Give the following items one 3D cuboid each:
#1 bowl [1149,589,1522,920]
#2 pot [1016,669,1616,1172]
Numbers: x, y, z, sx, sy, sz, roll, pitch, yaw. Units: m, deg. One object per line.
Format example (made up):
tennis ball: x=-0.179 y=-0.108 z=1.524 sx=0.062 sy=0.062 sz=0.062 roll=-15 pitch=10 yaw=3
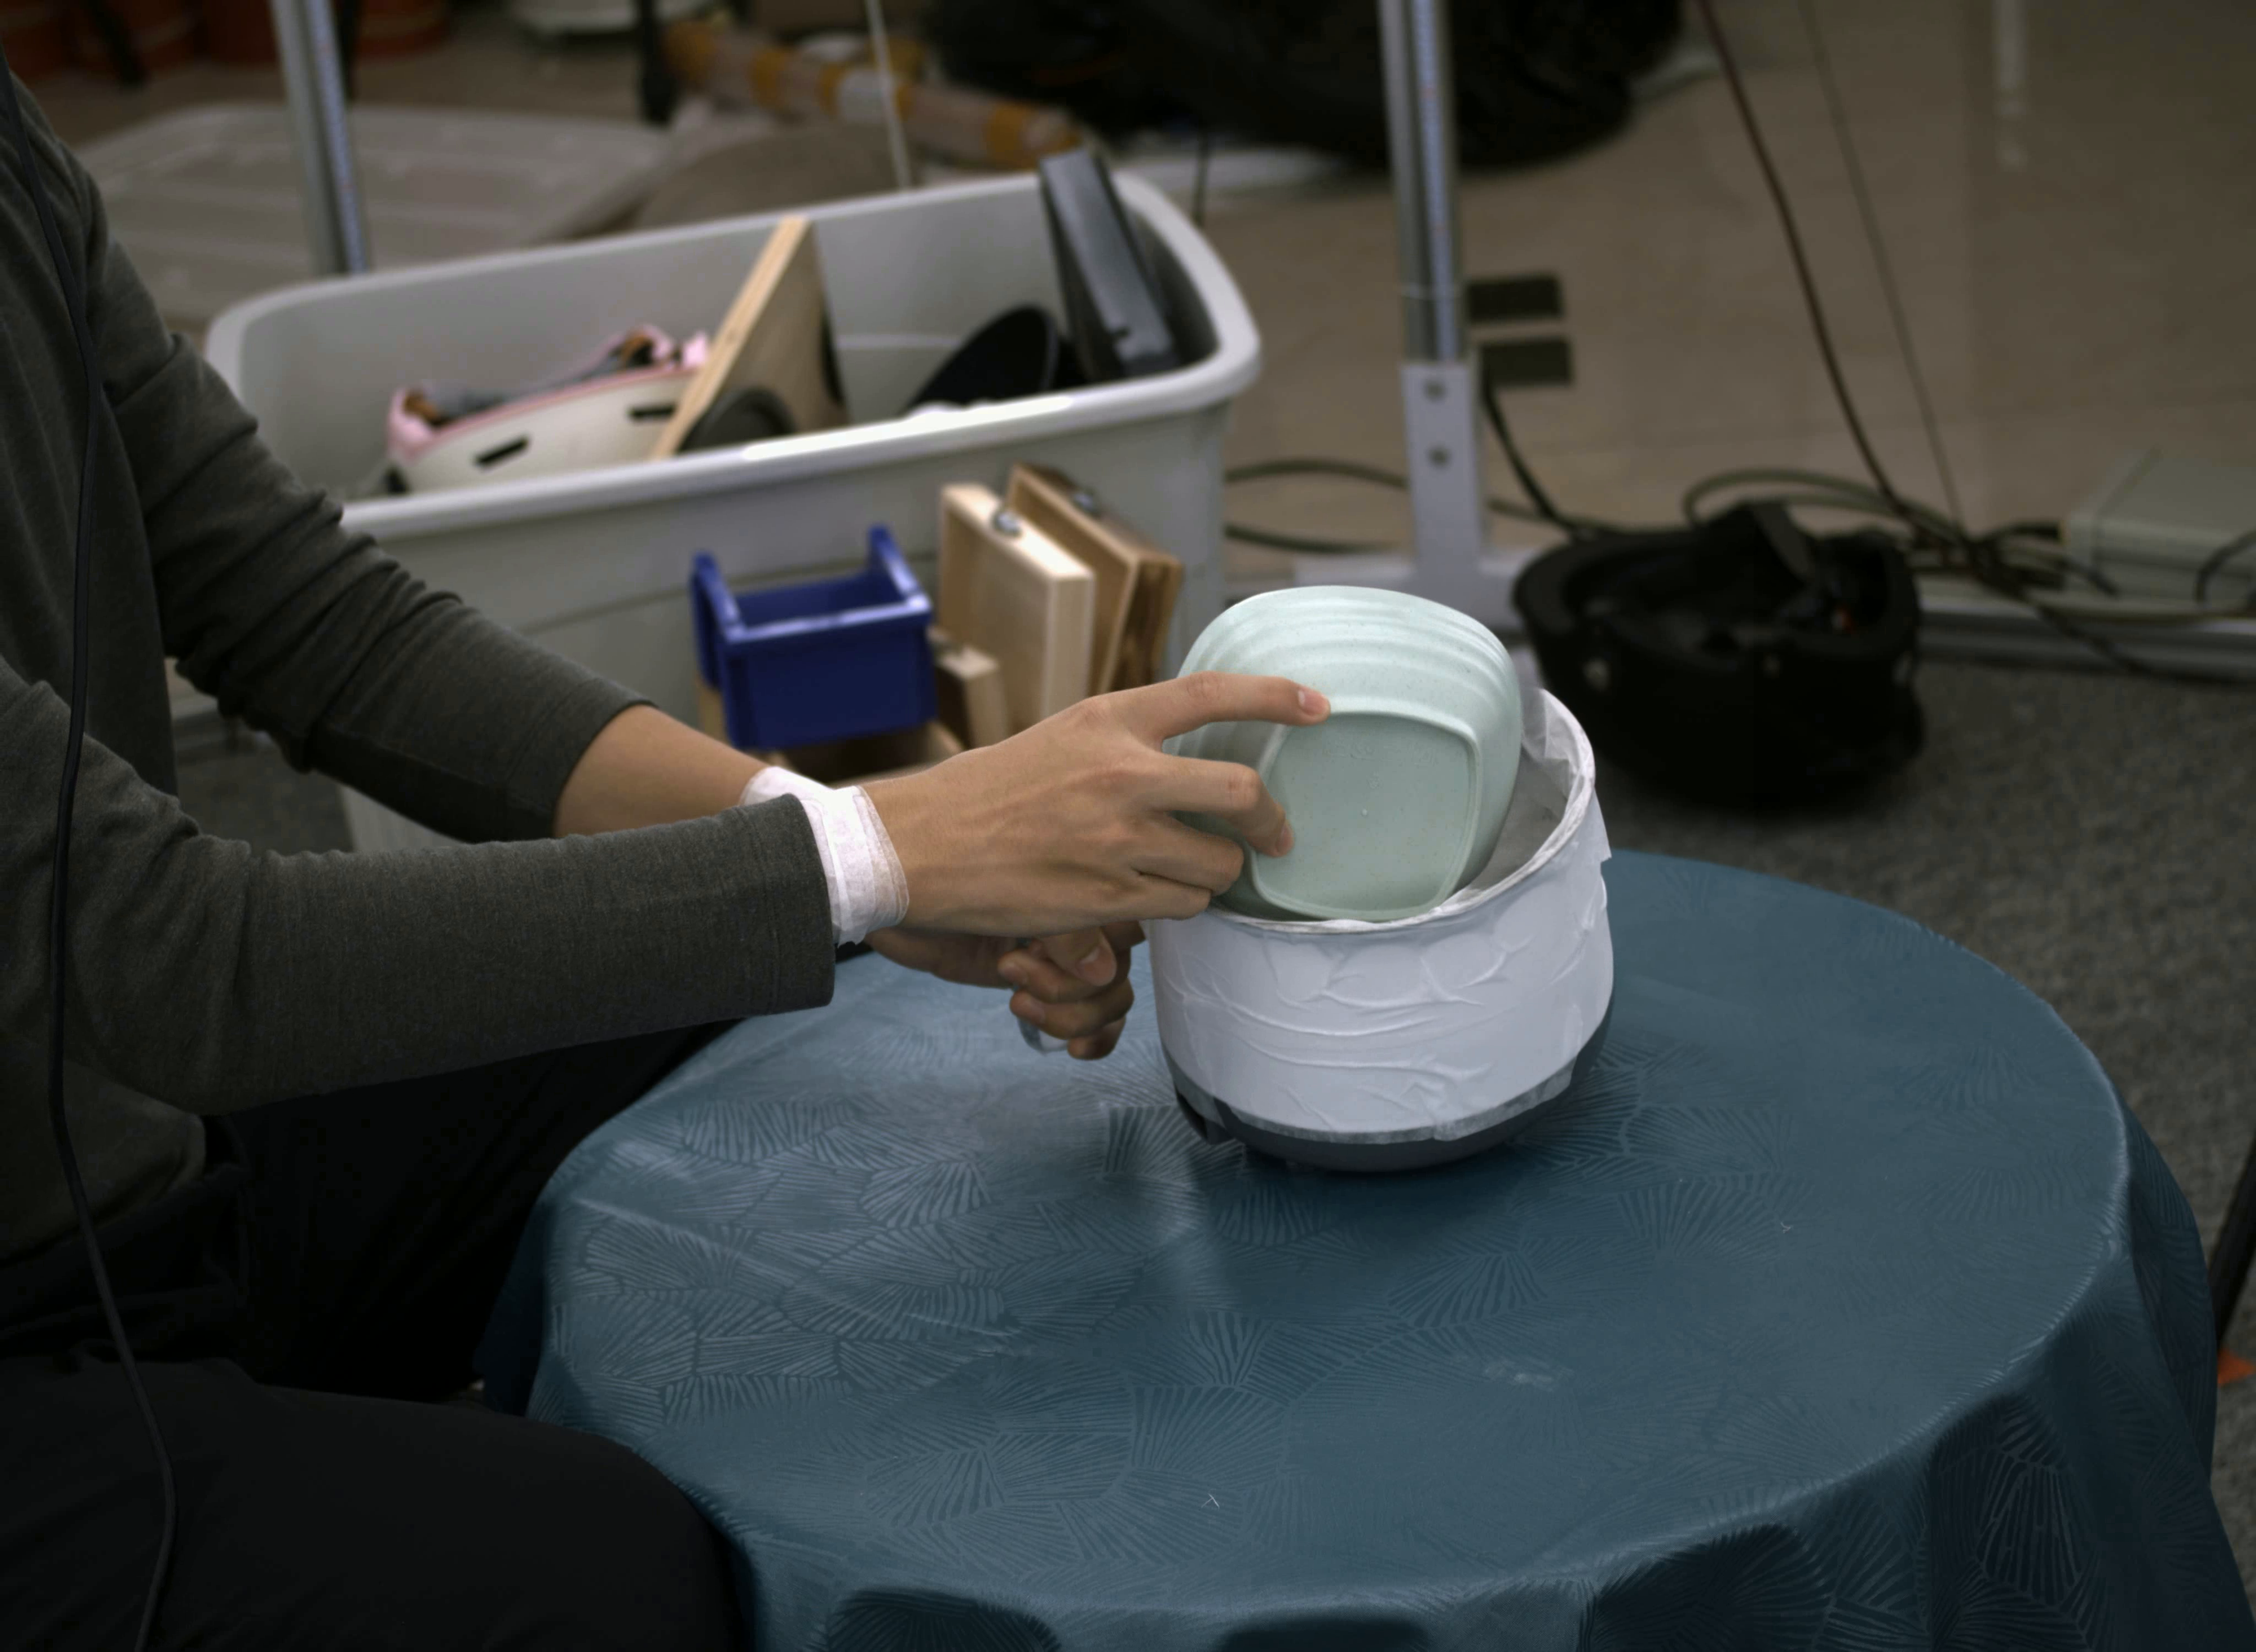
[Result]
bowl: x=0.081 y=-0.013 z=2.089 sx=0.151 sy=0.154 sz=0.058 roll=-8 pitch=24 yaw=-5
pot: x=0.068 y=0.037 z=2.166 sx=0.233 sy=0.139 sz=0.175 roll=-3 pitch=37 yaw=8
